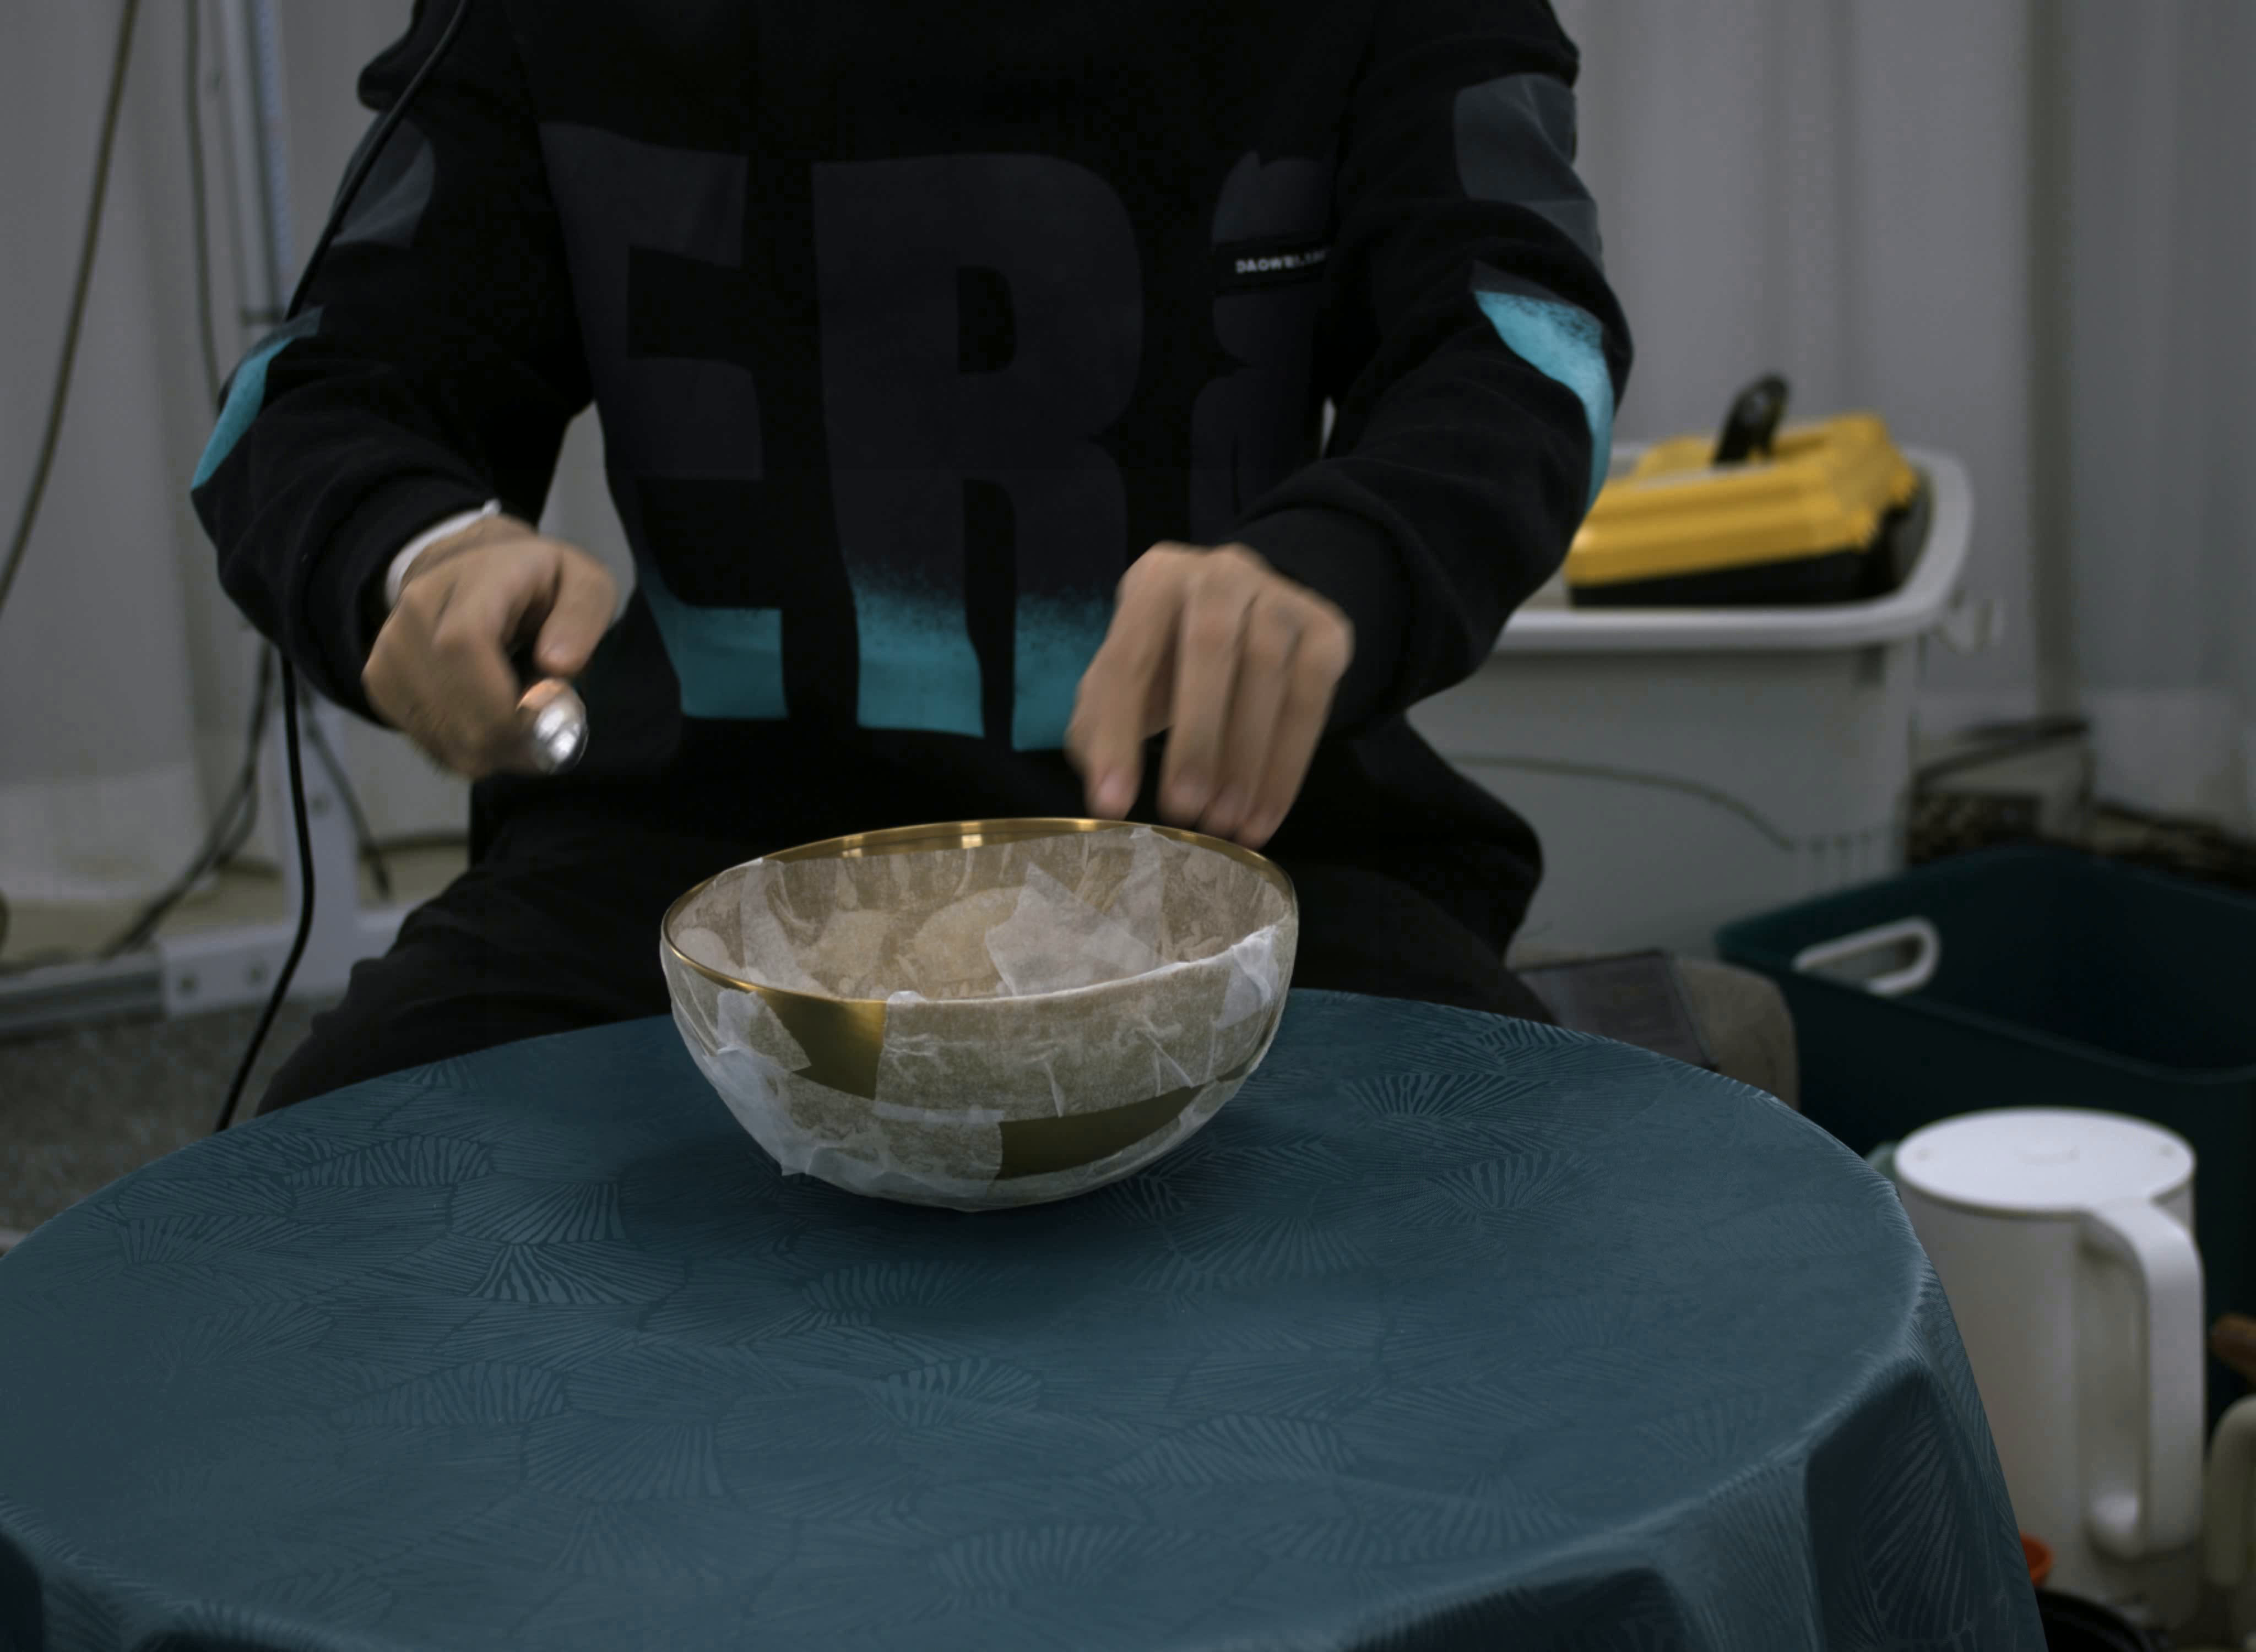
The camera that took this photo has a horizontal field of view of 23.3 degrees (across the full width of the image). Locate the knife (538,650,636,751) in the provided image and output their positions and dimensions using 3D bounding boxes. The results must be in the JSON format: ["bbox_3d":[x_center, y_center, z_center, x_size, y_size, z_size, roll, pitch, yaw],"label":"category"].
[{"bbox_3d":[-0.168,-0.038,1.698,0.026,0.017,0.226,18,4,-10],"label":"knife"}]

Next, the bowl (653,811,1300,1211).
[{"bbox_3d":[-0.044,0.065,1.726,0.214,0.094,0.216,-4,16,1],"label":"bowl"}]
